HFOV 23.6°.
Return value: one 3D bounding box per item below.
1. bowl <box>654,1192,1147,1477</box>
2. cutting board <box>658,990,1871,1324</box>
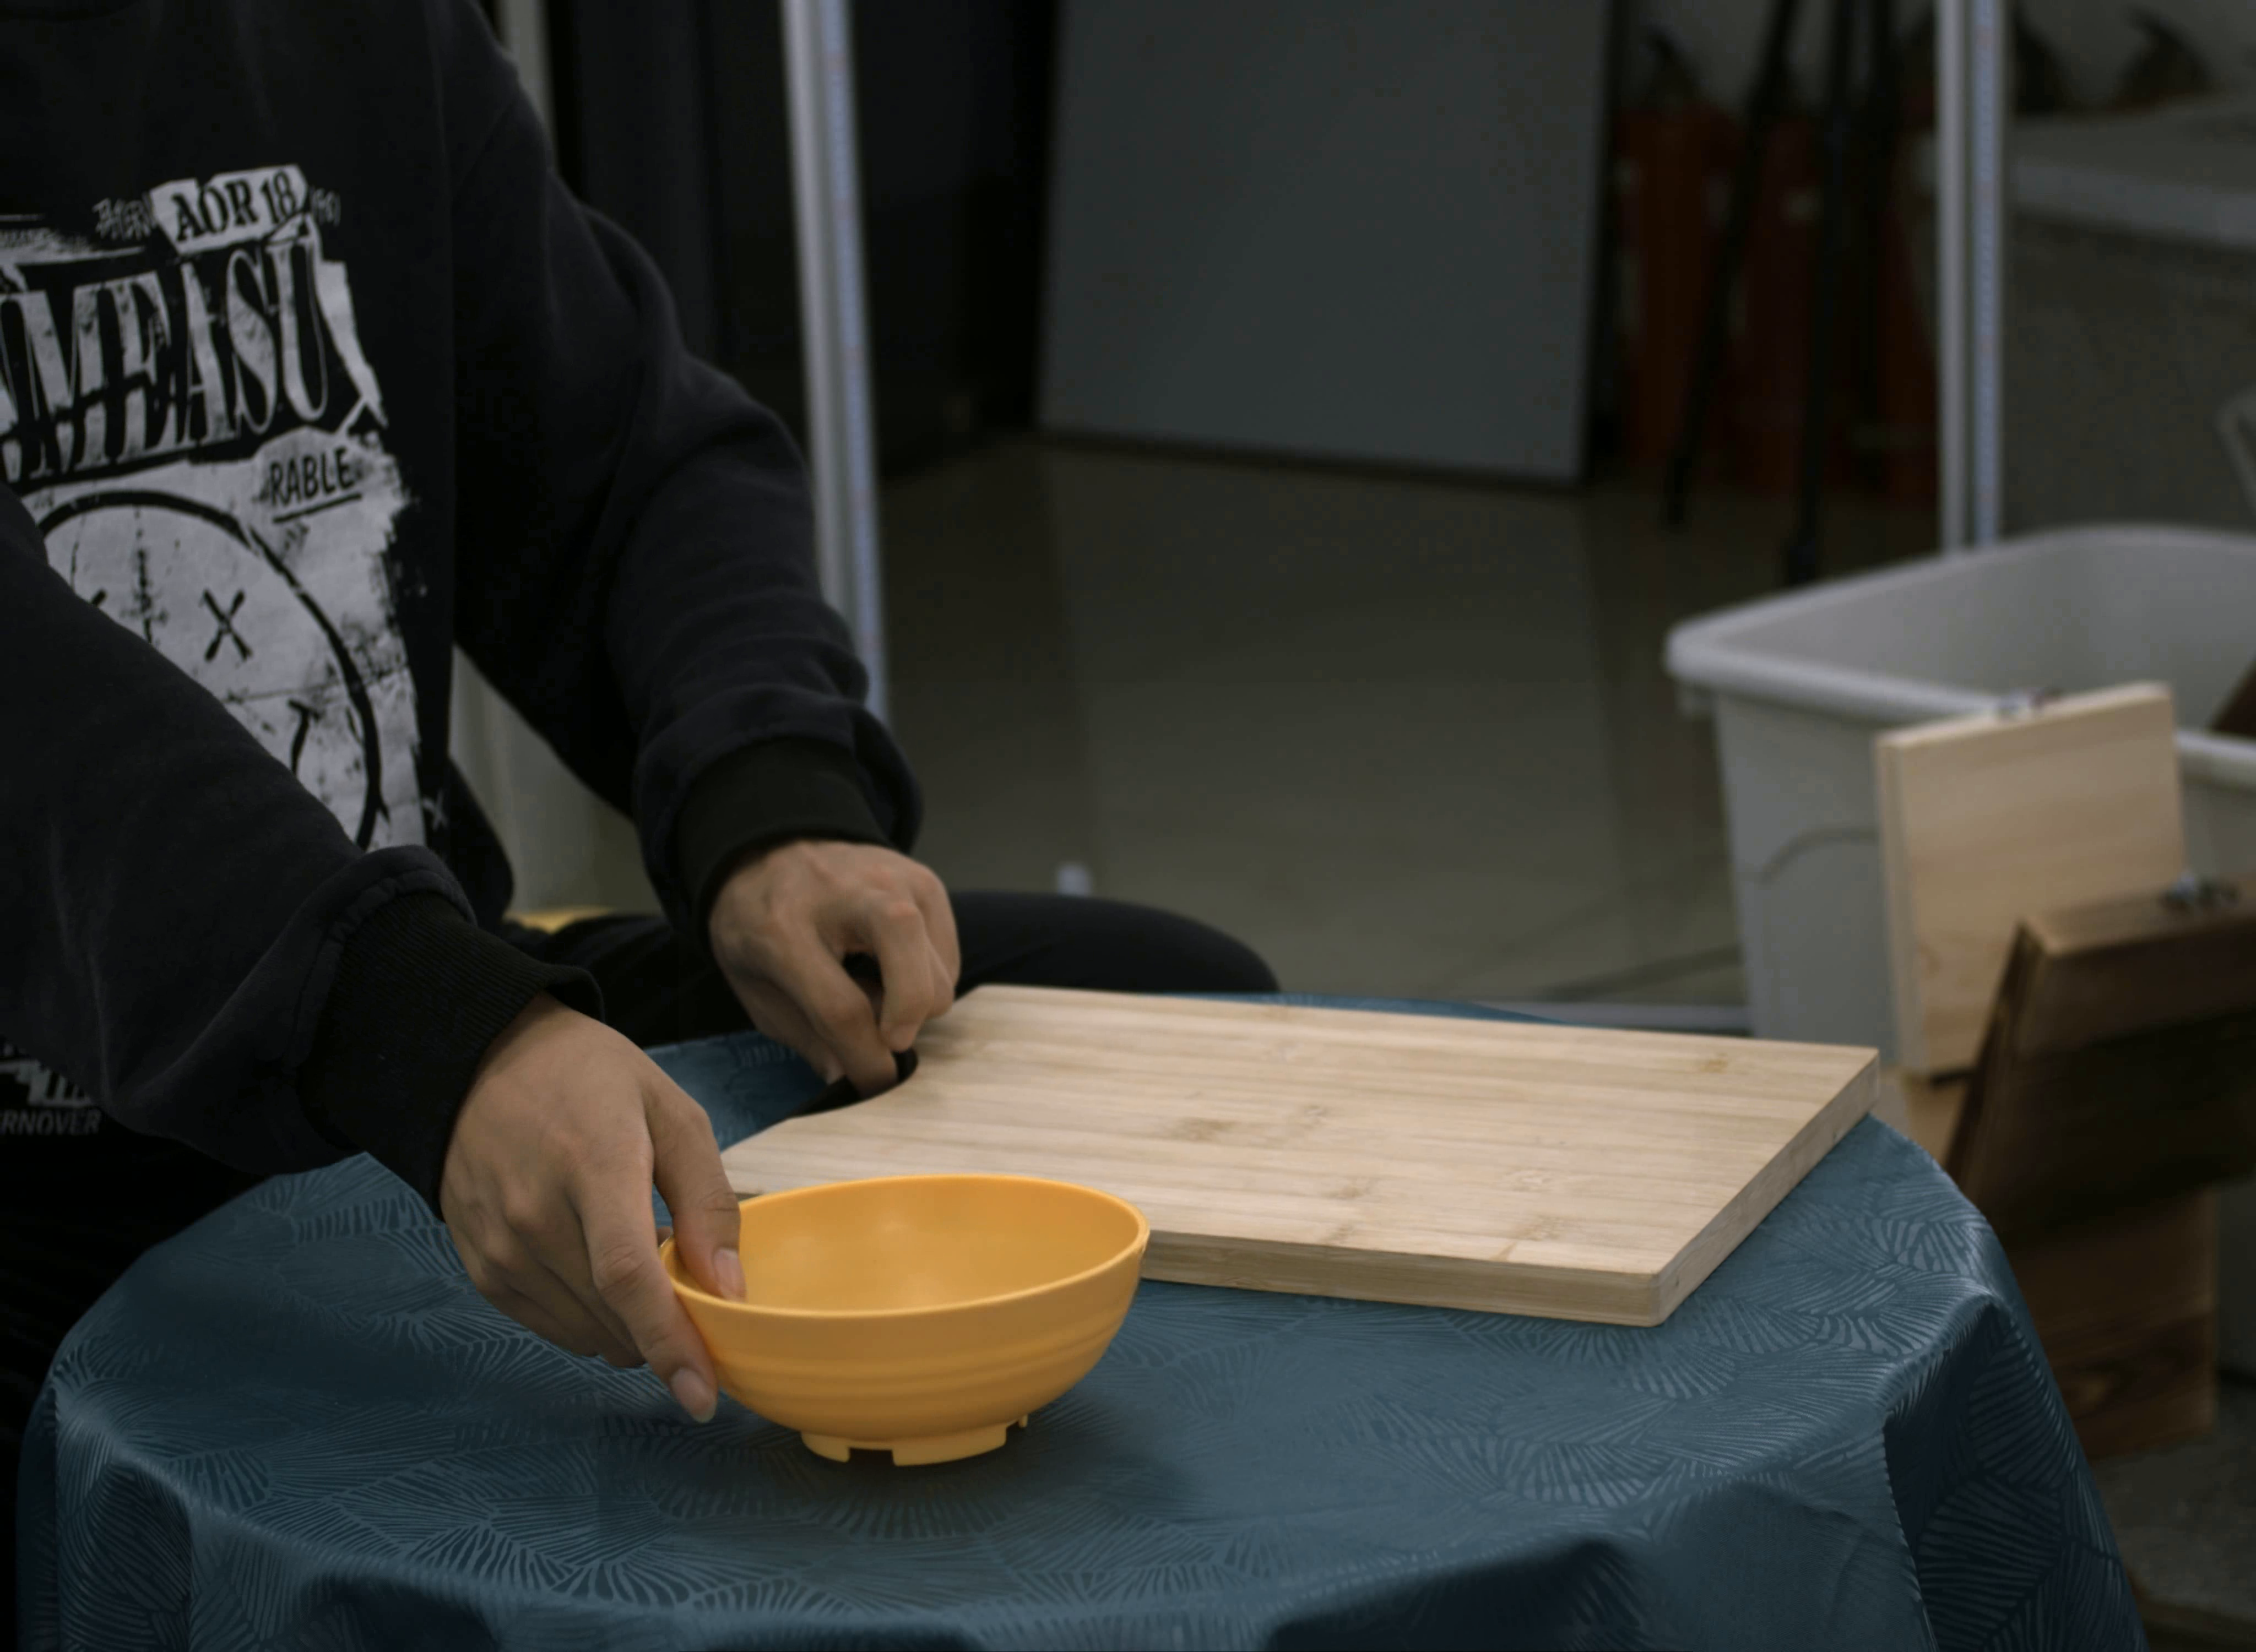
[{"bbox_3d":[-0.063,0.150,1.554,0.143,0.061,0.145,-4,9,0],"label":"bowl"},{"bbox_3d":[0.049,0.105,1.786,0.349,0.024,0.248,2,15,24],"label":"cutting board"}]
